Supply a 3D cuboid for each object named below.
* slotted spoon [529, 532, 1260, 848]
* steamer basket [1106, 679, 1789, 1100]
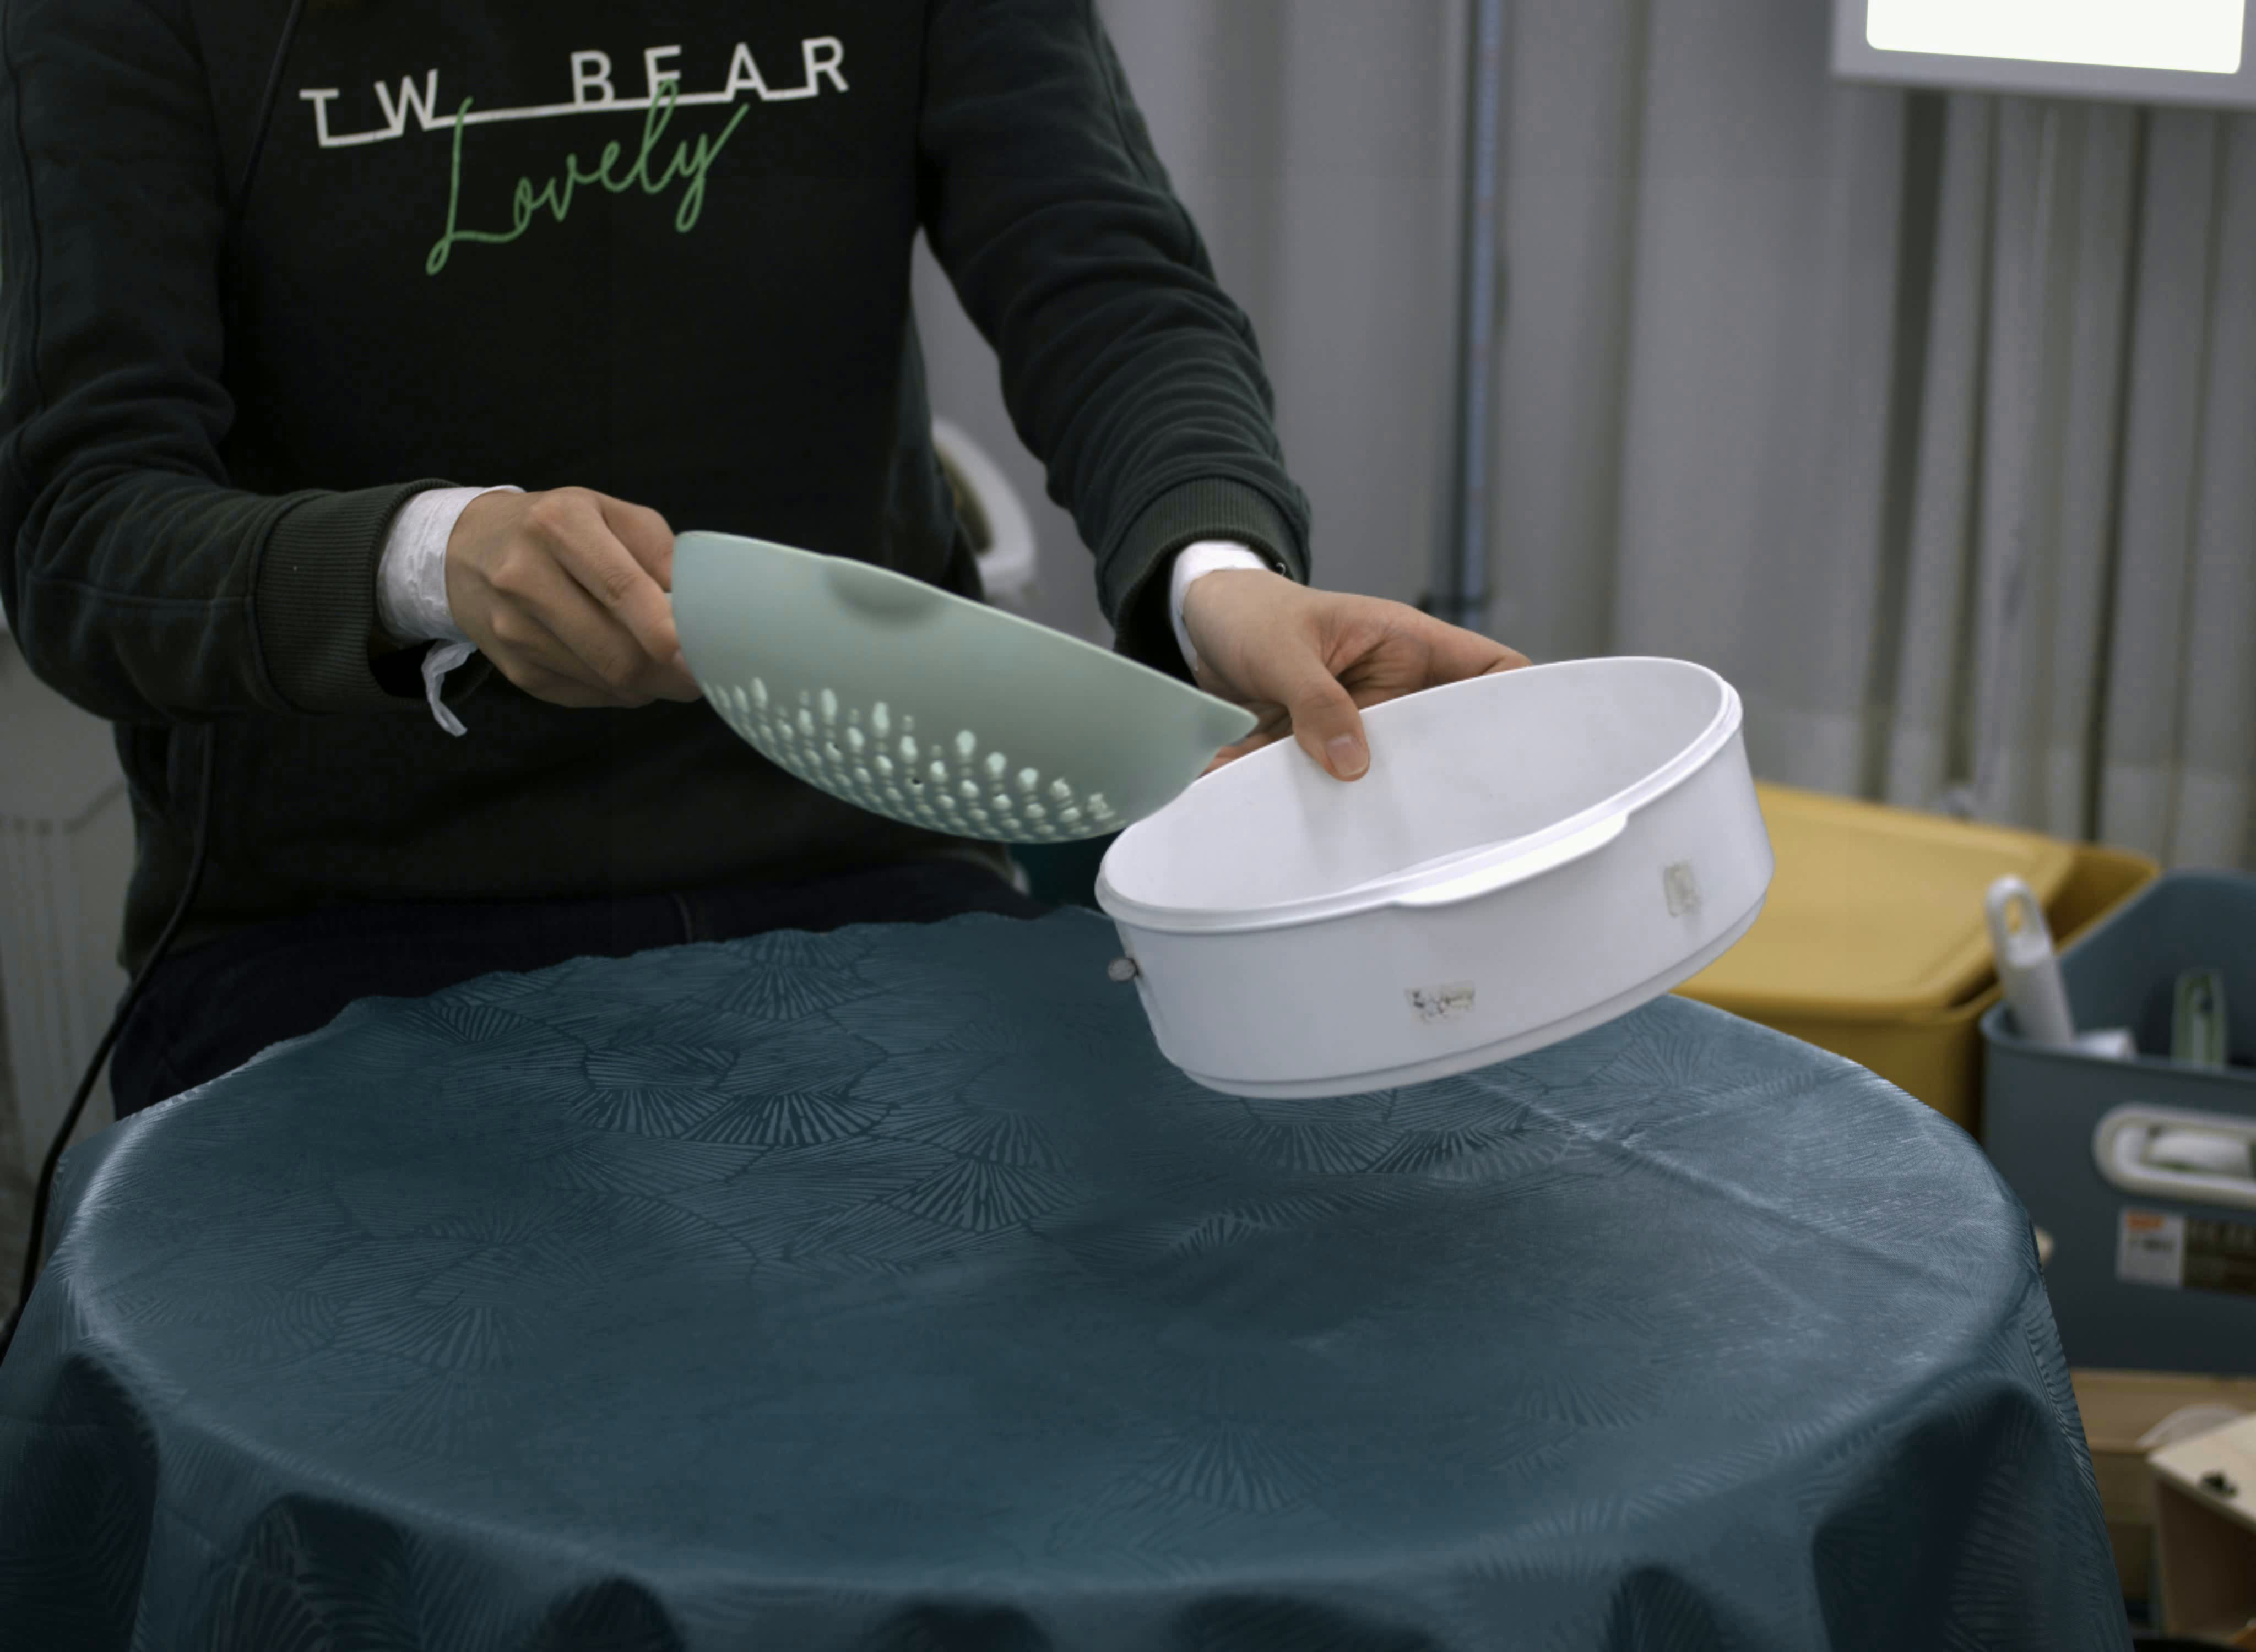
[{"bbox_3d":[-0.101,-0.052,1.584,0.171,0.075,0.354,22,2,-30],"label":"slotted spoon"},{"bbox_3d":[0.098,0.019,1.568,0.202,0.070,0.228,-17,16,-13],"label":"steamer basket"}]
